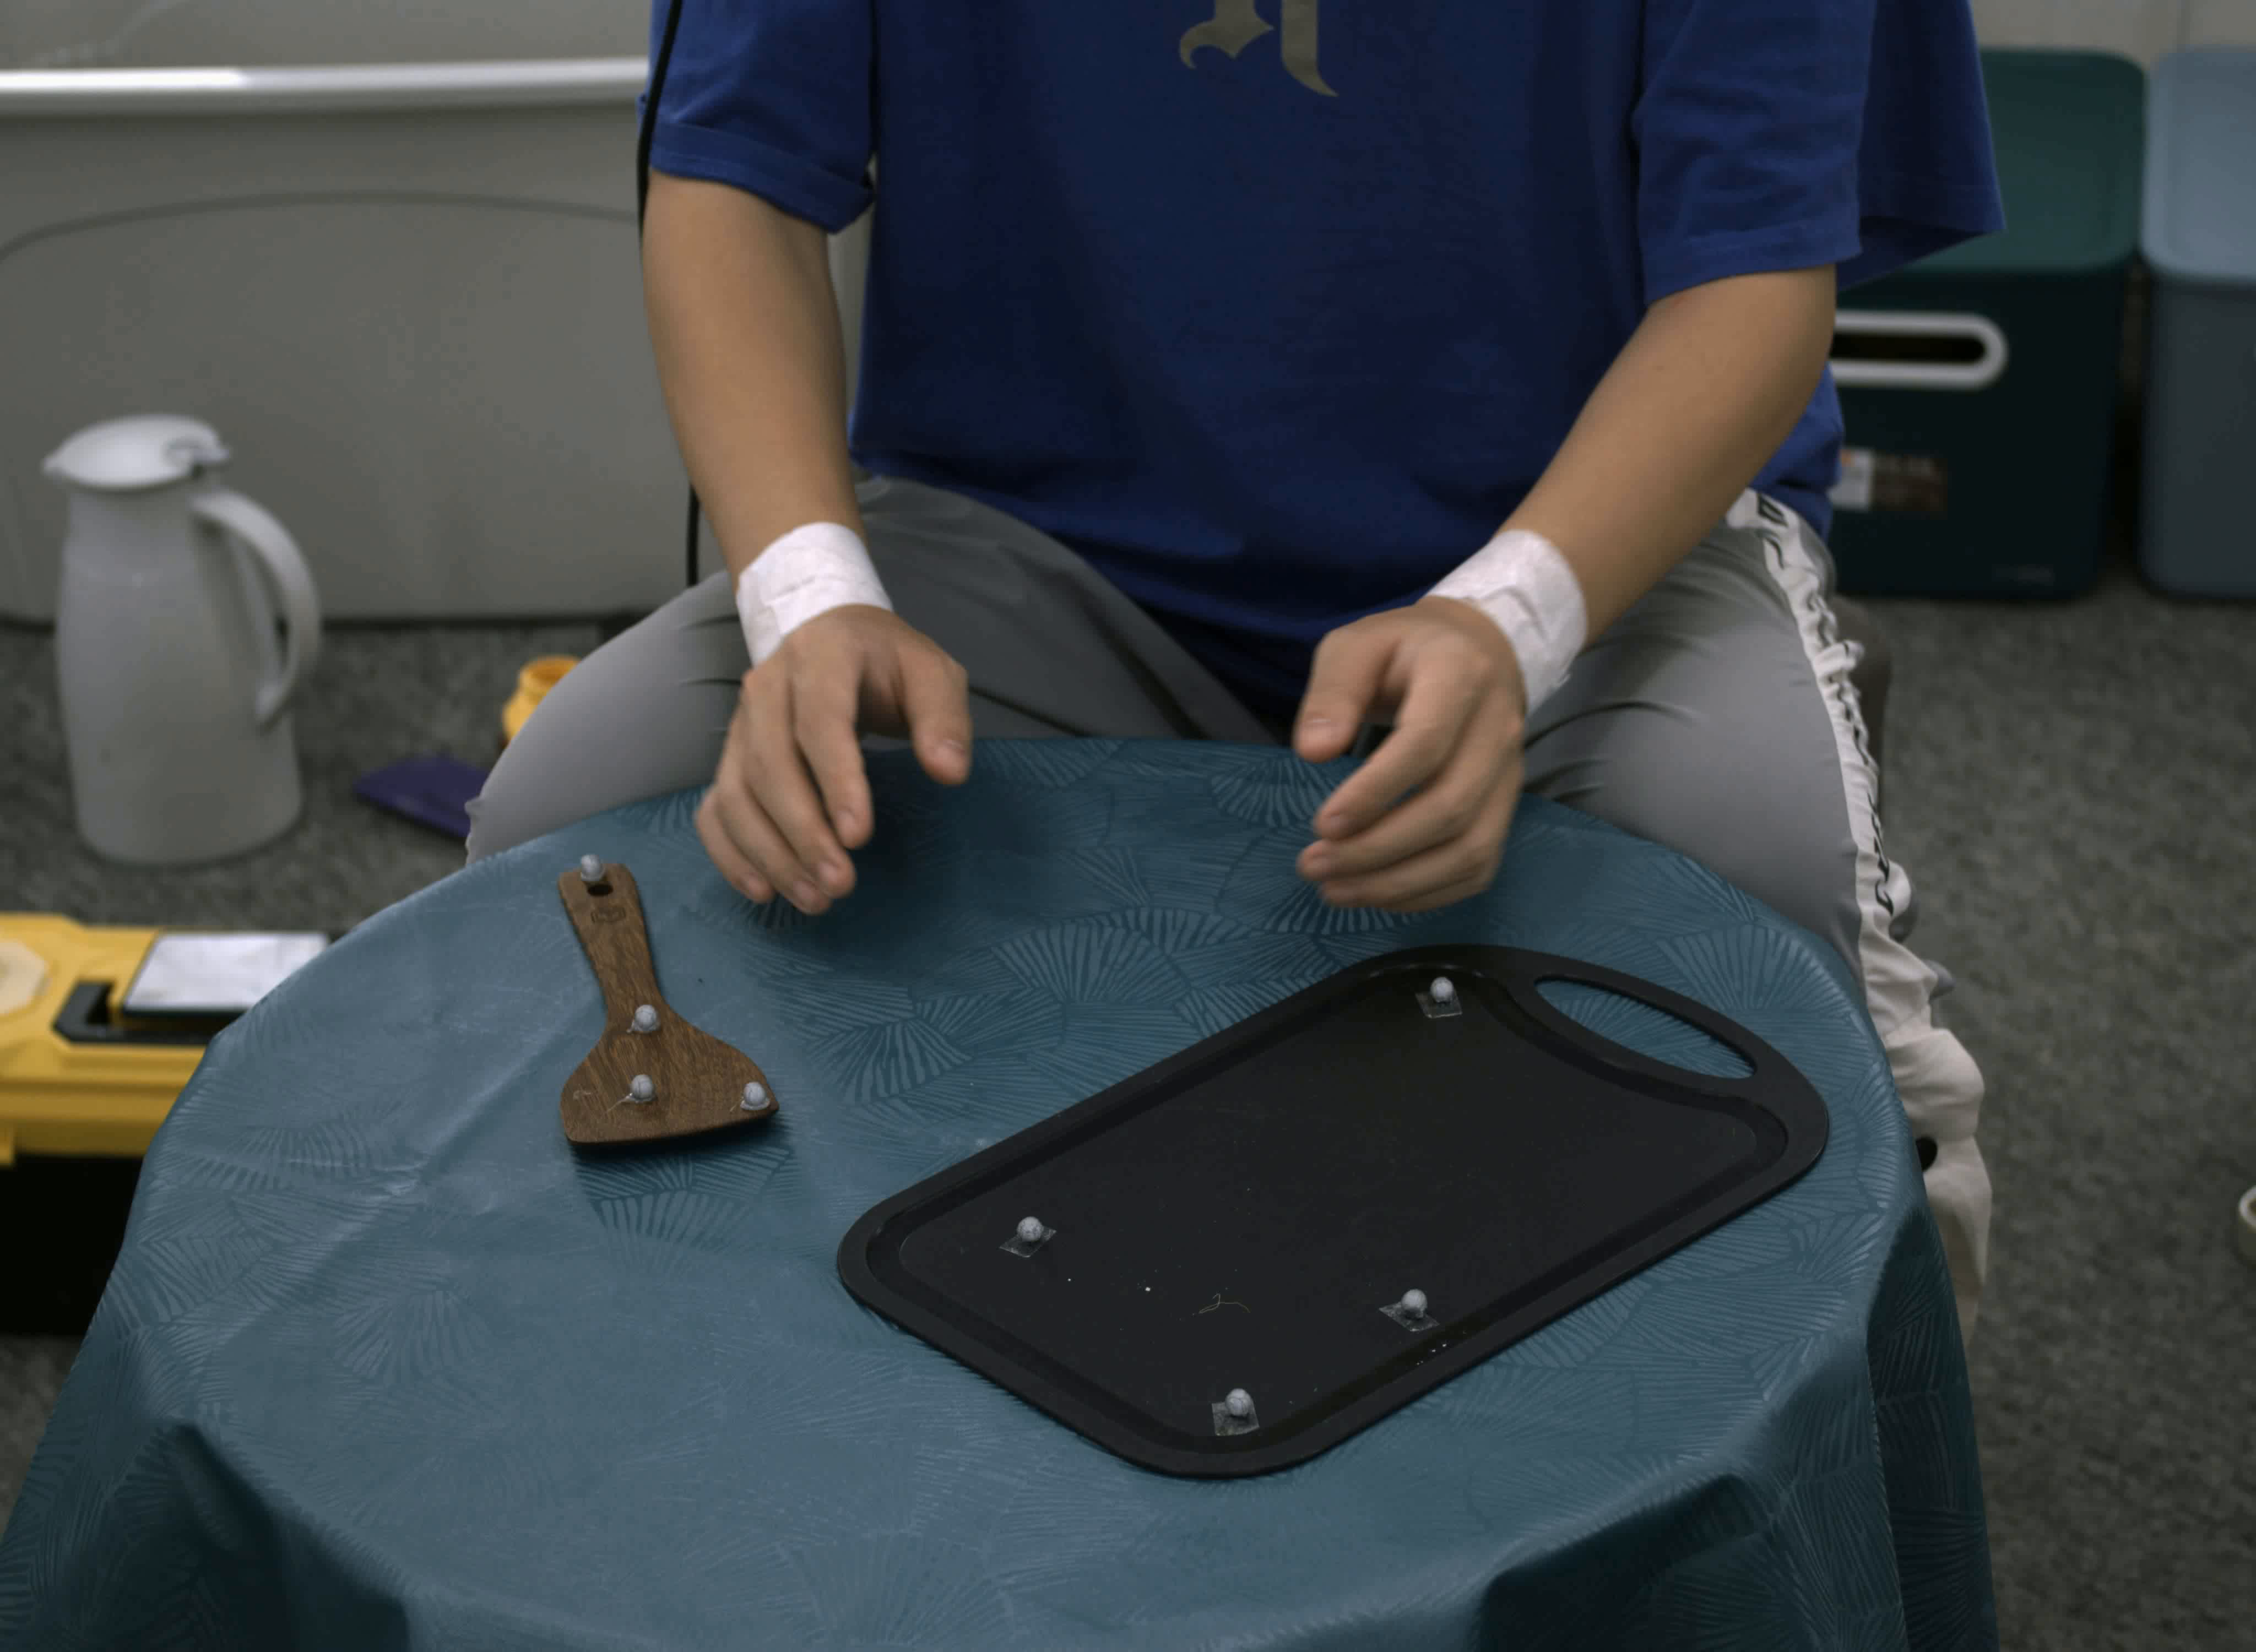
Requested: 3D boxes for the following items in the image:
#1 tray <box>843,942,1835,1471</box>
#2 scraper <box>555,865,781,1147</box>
[{"bbox_3d":[0.076,0.115,1.858,0.329,0.009,0.211,-24,34,-35],"label":"tray"},{"bbox_3d":[-0.174,0.063,1.983,0.076,0.011,0.213,-7,27,-10],"label":"scraper"}]
